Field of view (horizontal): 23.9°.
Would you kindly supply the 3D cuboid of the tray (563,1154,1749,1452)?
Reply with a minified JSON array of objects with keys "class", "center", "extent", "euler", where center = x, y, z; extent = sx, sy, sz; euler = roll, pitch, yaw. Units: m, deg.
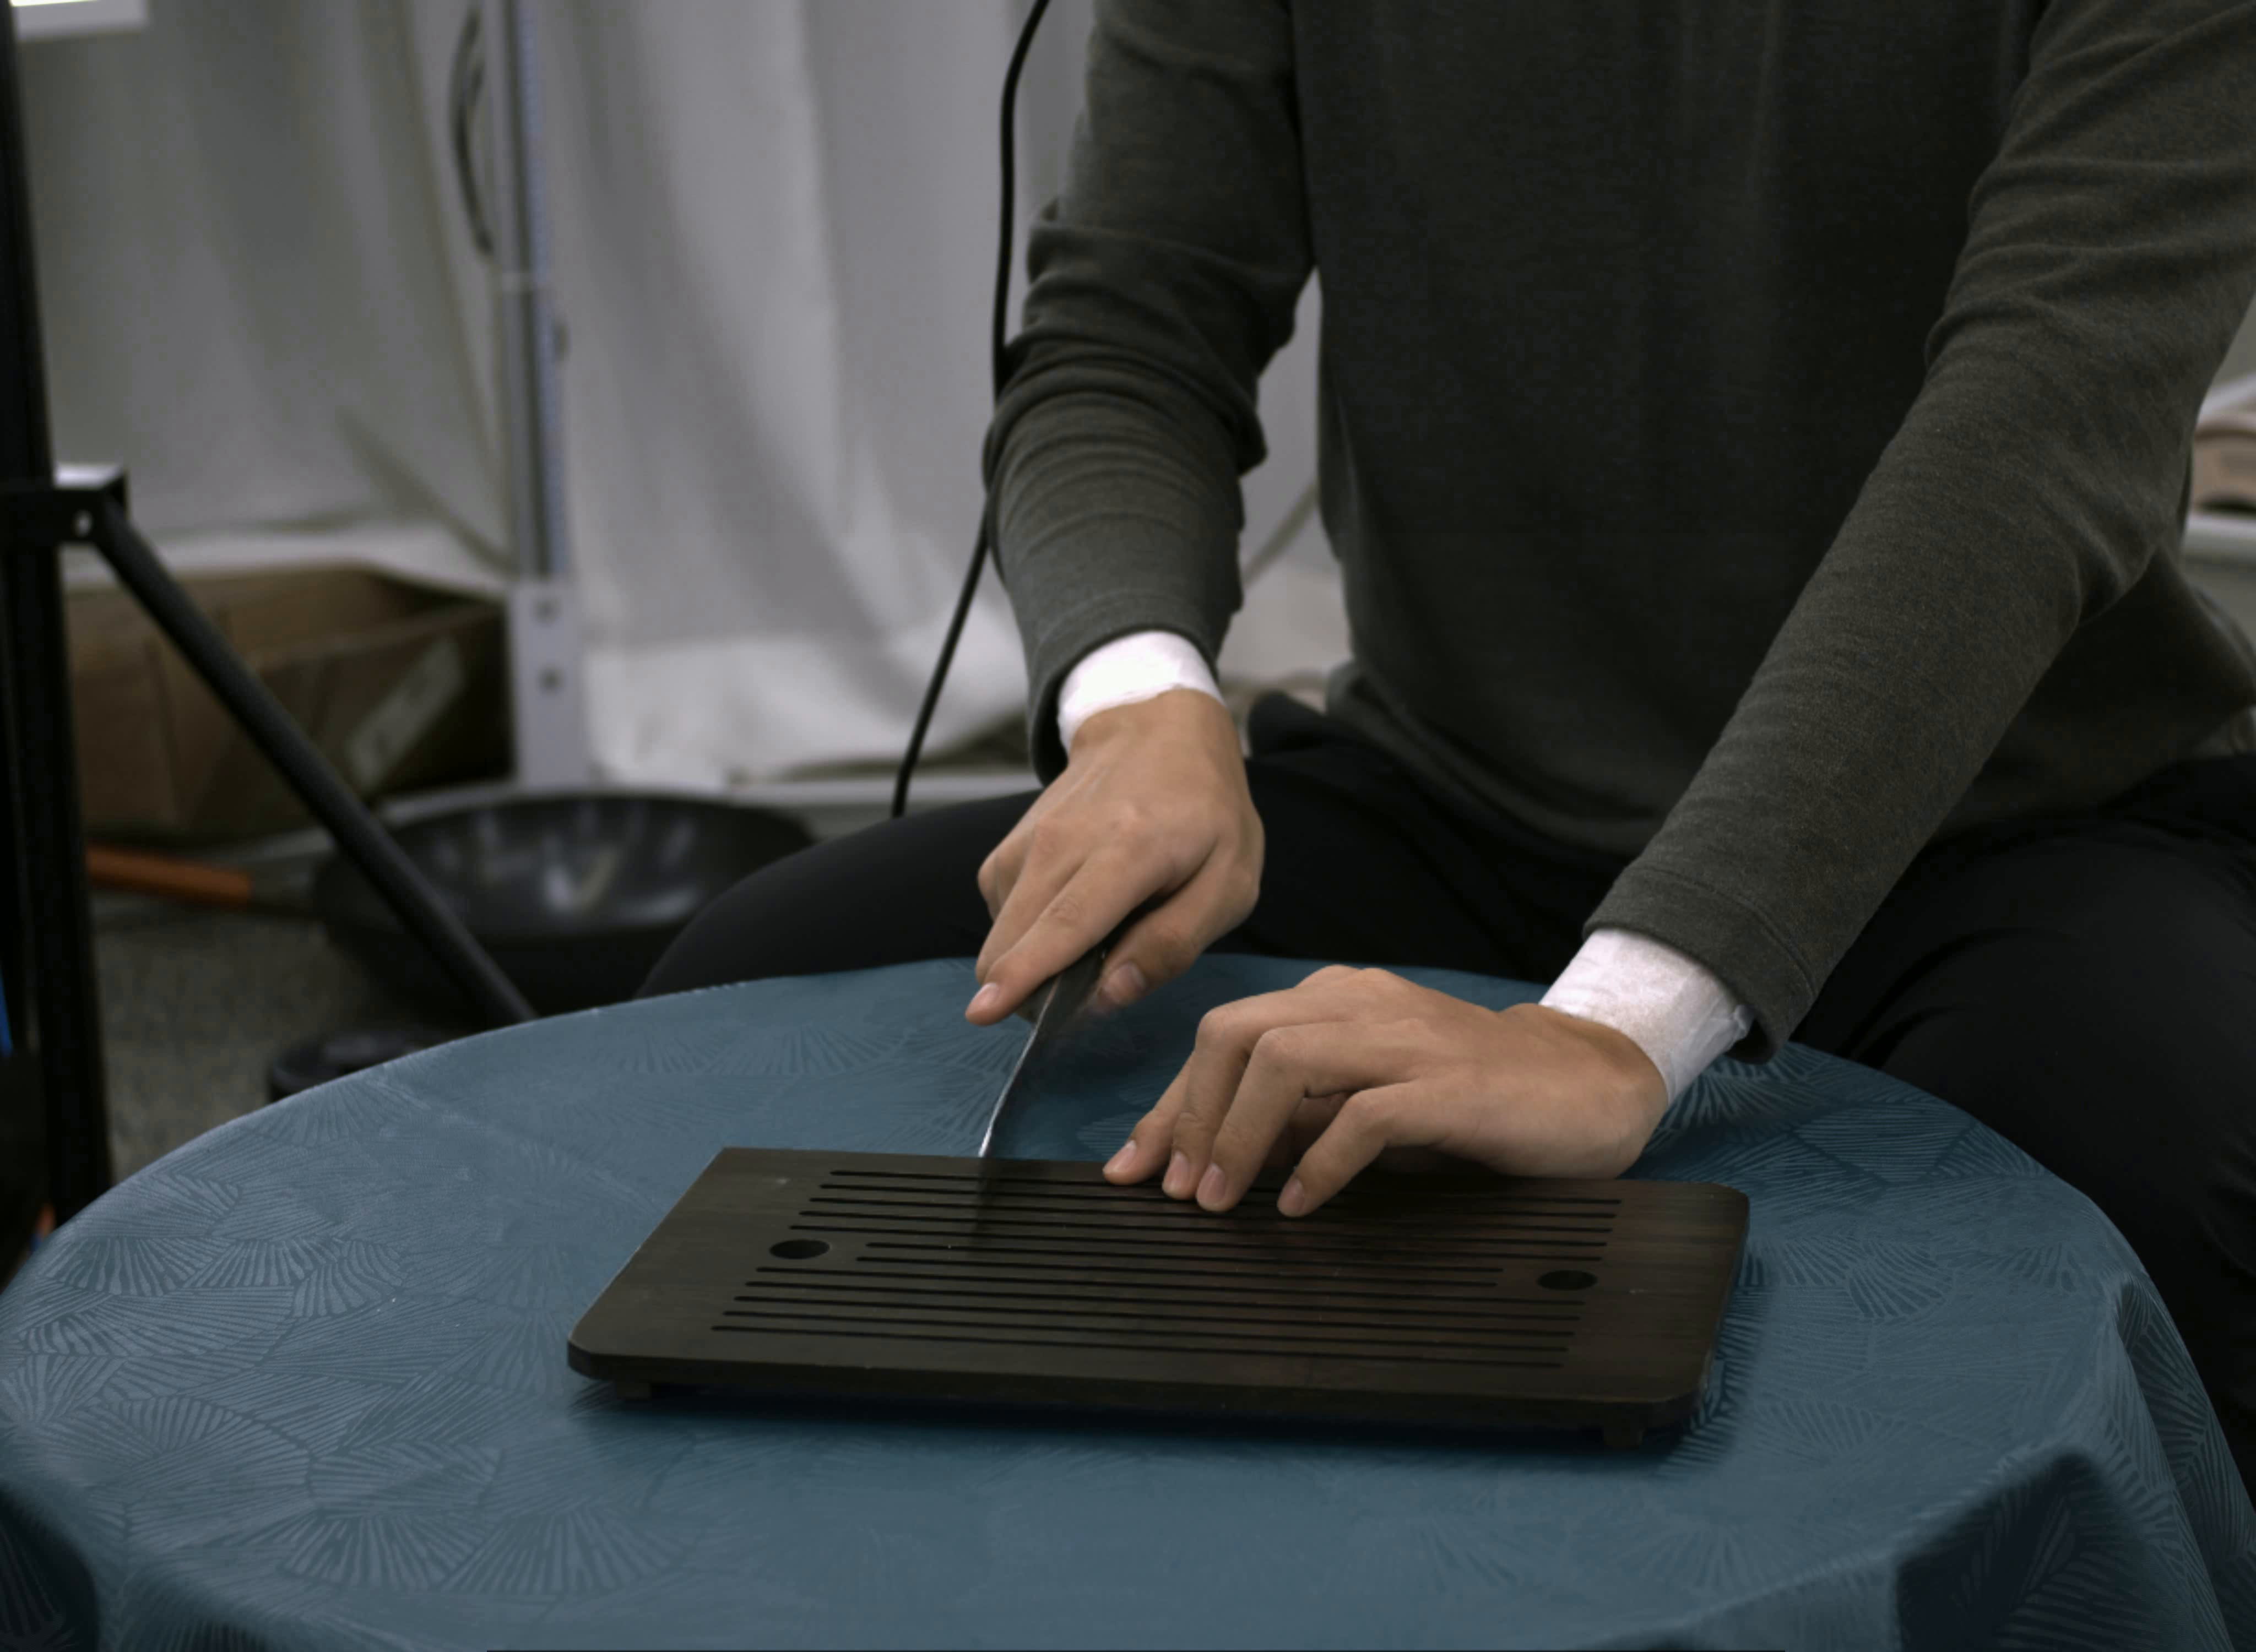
[{"class":"tray","center":[0.012,0.129,1.453],"extent":[0.308,0.018,0.169],"euler":[2,16,13]}]

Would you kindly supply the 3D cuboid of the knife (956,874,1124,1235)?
[{"class":"knife","center":[-0.027,0.065,1.591],"extent":[0.016,0.024,0.237],"euler":[9,24,7]}]
